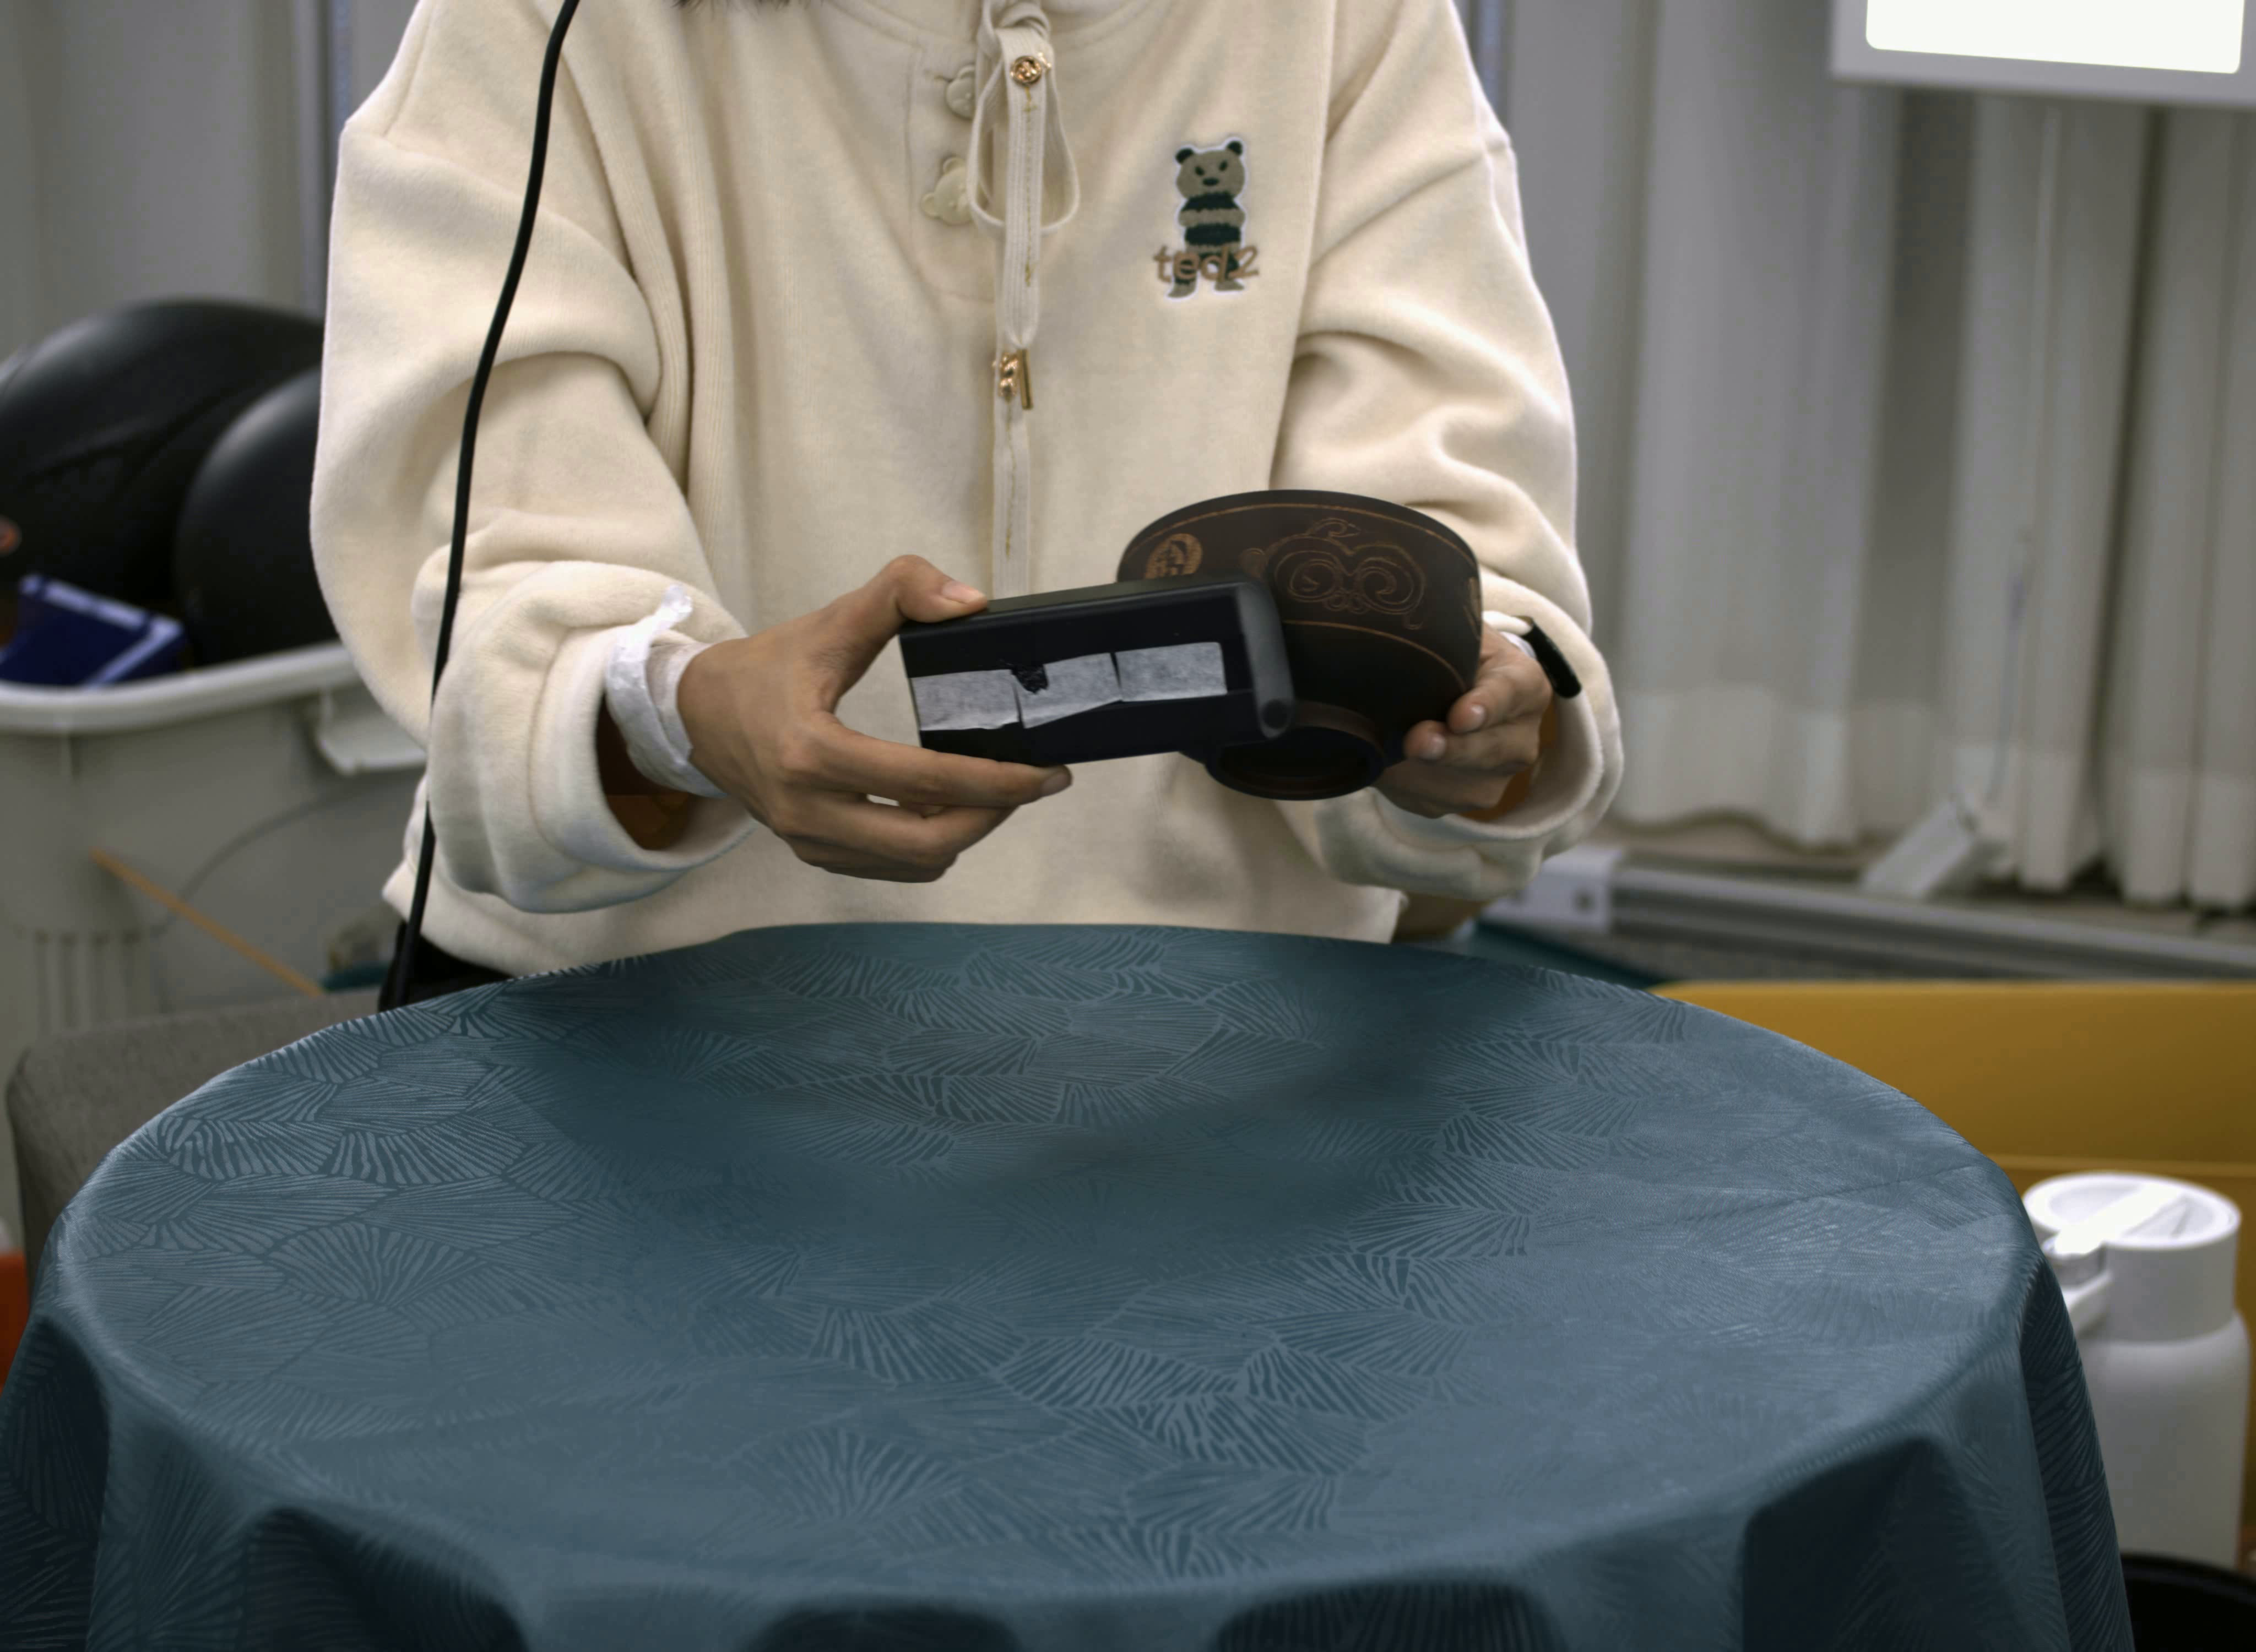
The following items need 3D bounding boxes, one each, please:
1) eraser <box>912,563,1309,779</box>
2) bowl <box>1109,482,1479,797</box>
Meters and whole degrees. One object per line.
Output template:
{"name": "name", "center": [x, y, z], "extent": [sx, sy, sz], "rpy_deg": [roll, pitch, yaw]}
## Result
{"name": "eraser", "center": [-0.006, -0.048, 1.621], "extent": [0.124, 0.054, 0.030], "rpy_deg": [-6, 10, 31]}
{"name": "bowl", "center": [0.052, -0.052, 1.664], "extent": [0.117, 0.069, 0.119], "rpy_deg": [2, -25, 1]}
